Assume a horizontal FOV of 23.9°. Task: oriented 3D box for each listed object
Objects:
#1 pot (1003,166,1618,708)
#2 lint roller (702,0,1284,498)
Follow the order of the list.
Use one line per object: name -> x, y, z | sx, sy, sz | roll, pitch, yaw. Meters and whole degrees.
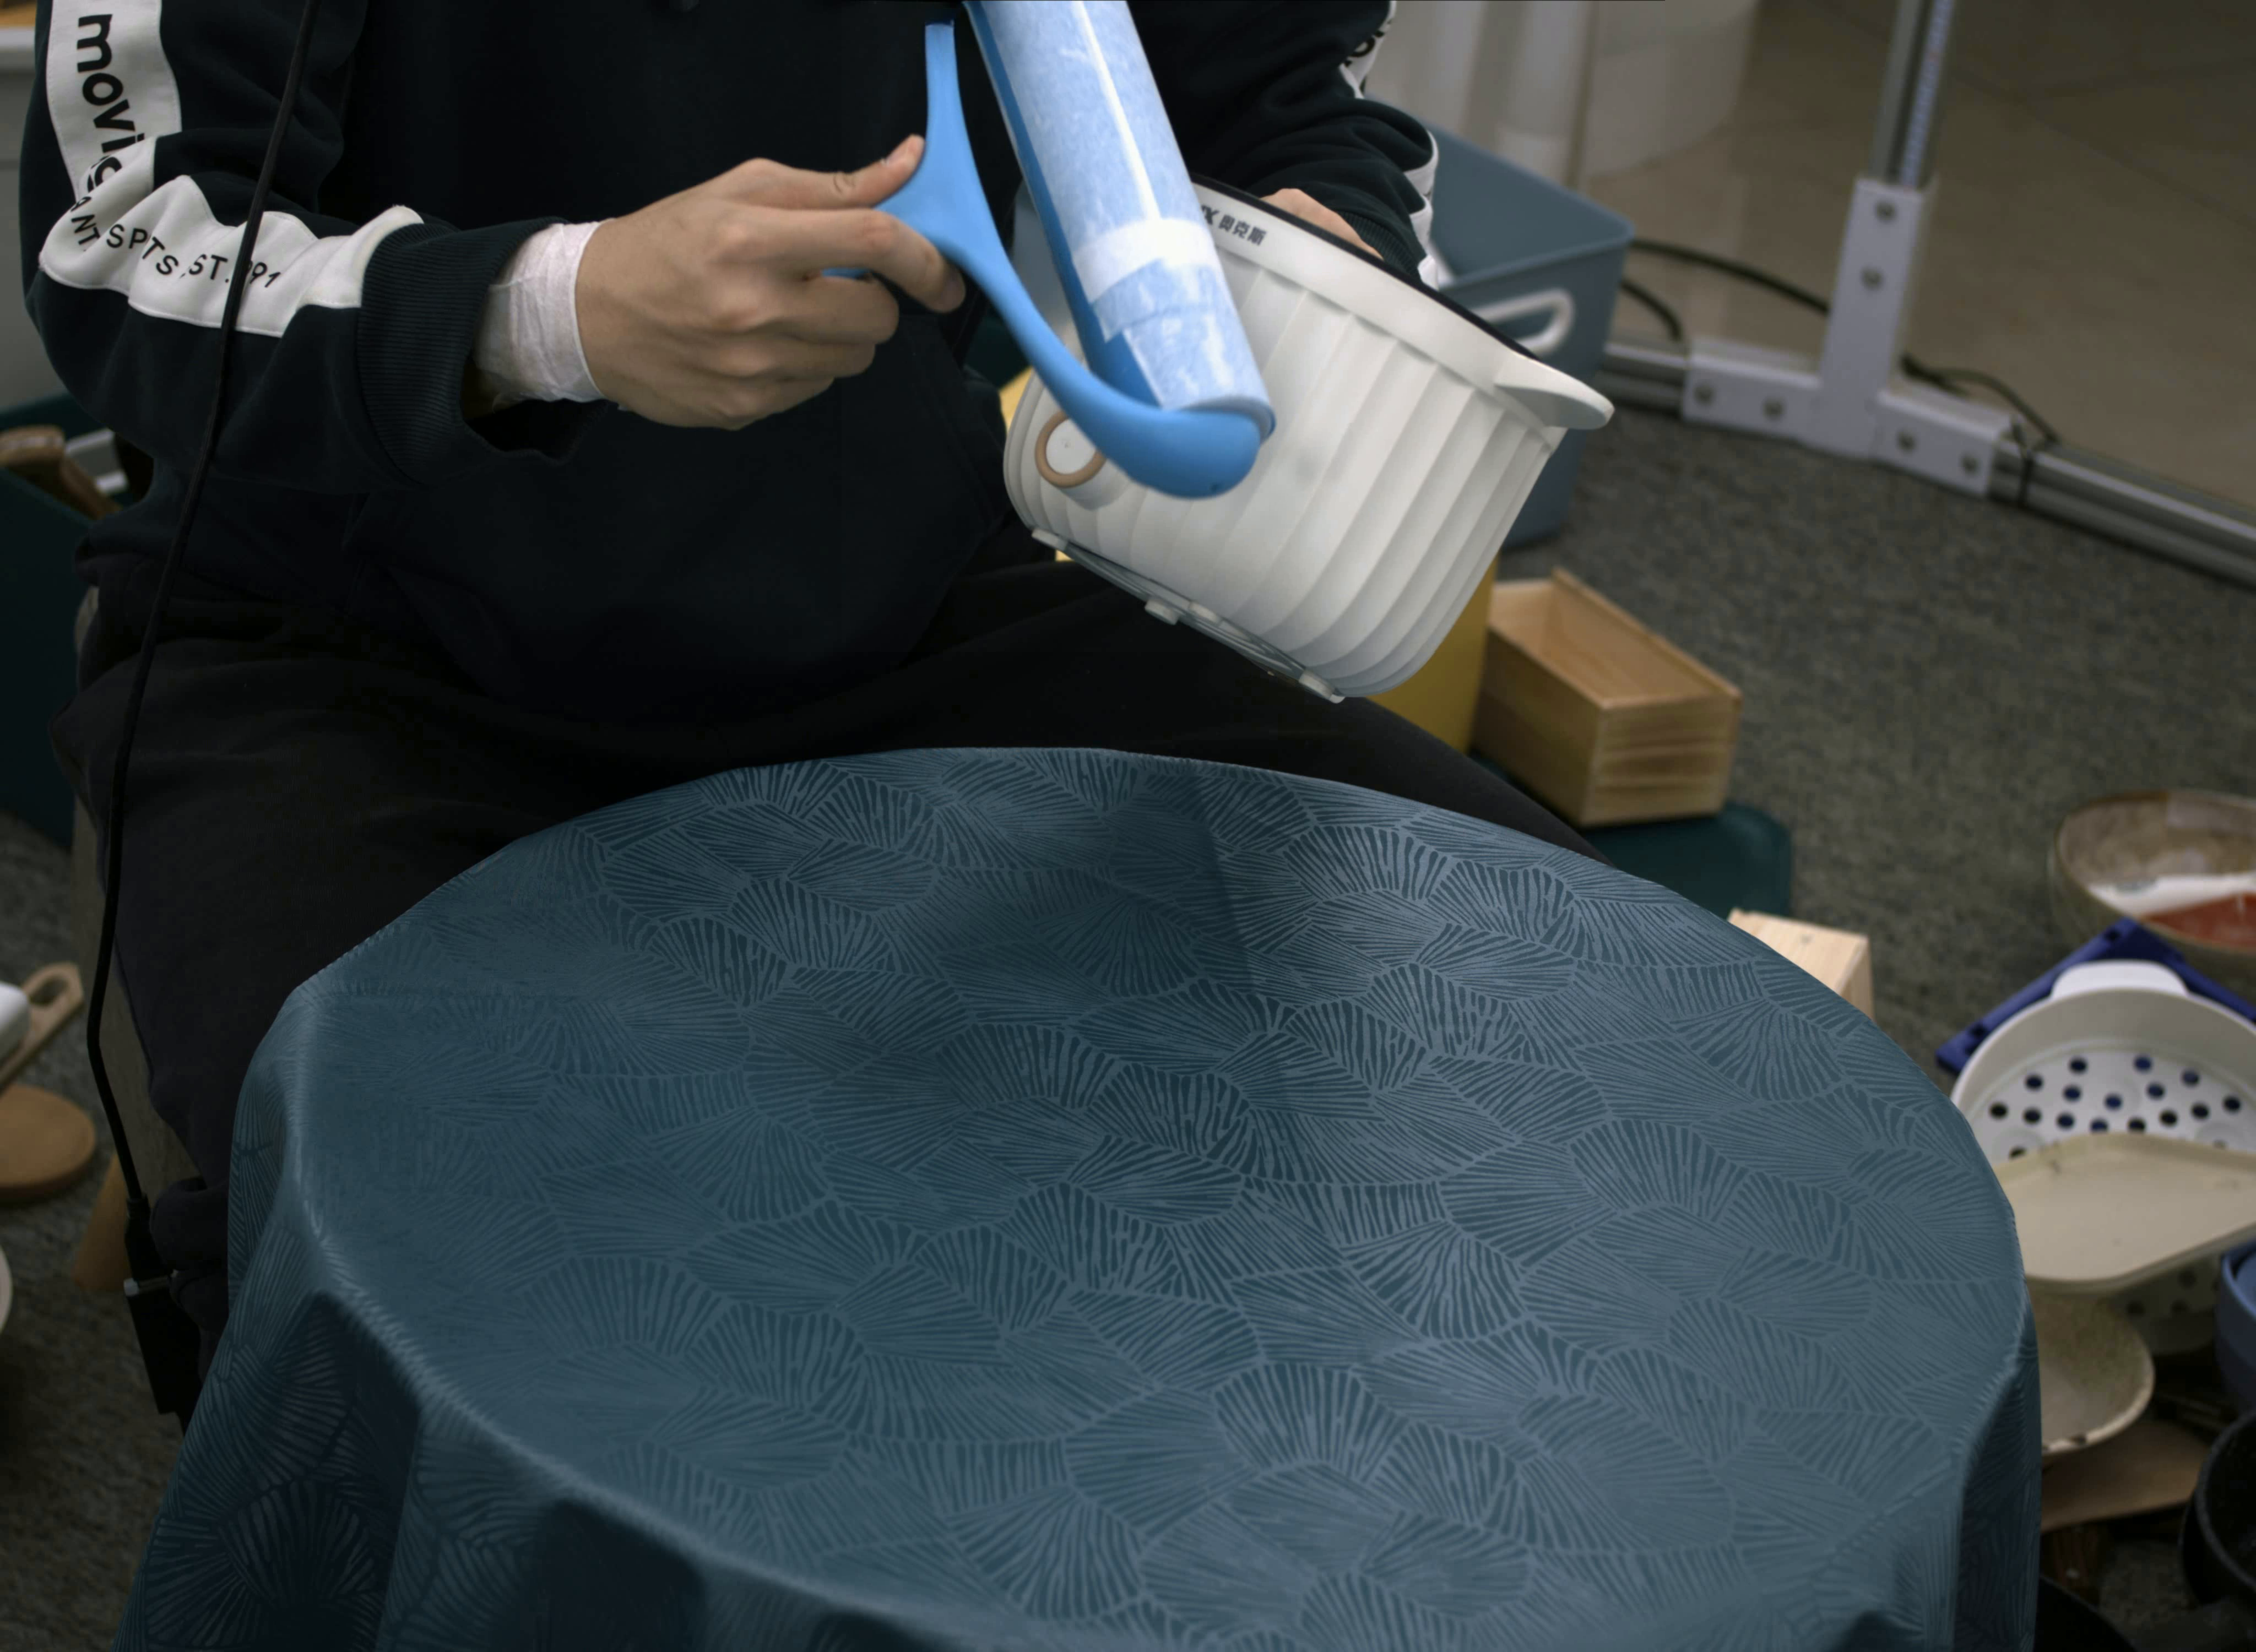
pot -> 0.049, -0.135, 1.902 | 0.242, 0.143, 0.189 | 25, -7, 37
lint roller -> -0.058, -0.191, 1.791 | 0.180, 0.067, 0.231 | -18, 66, -7
